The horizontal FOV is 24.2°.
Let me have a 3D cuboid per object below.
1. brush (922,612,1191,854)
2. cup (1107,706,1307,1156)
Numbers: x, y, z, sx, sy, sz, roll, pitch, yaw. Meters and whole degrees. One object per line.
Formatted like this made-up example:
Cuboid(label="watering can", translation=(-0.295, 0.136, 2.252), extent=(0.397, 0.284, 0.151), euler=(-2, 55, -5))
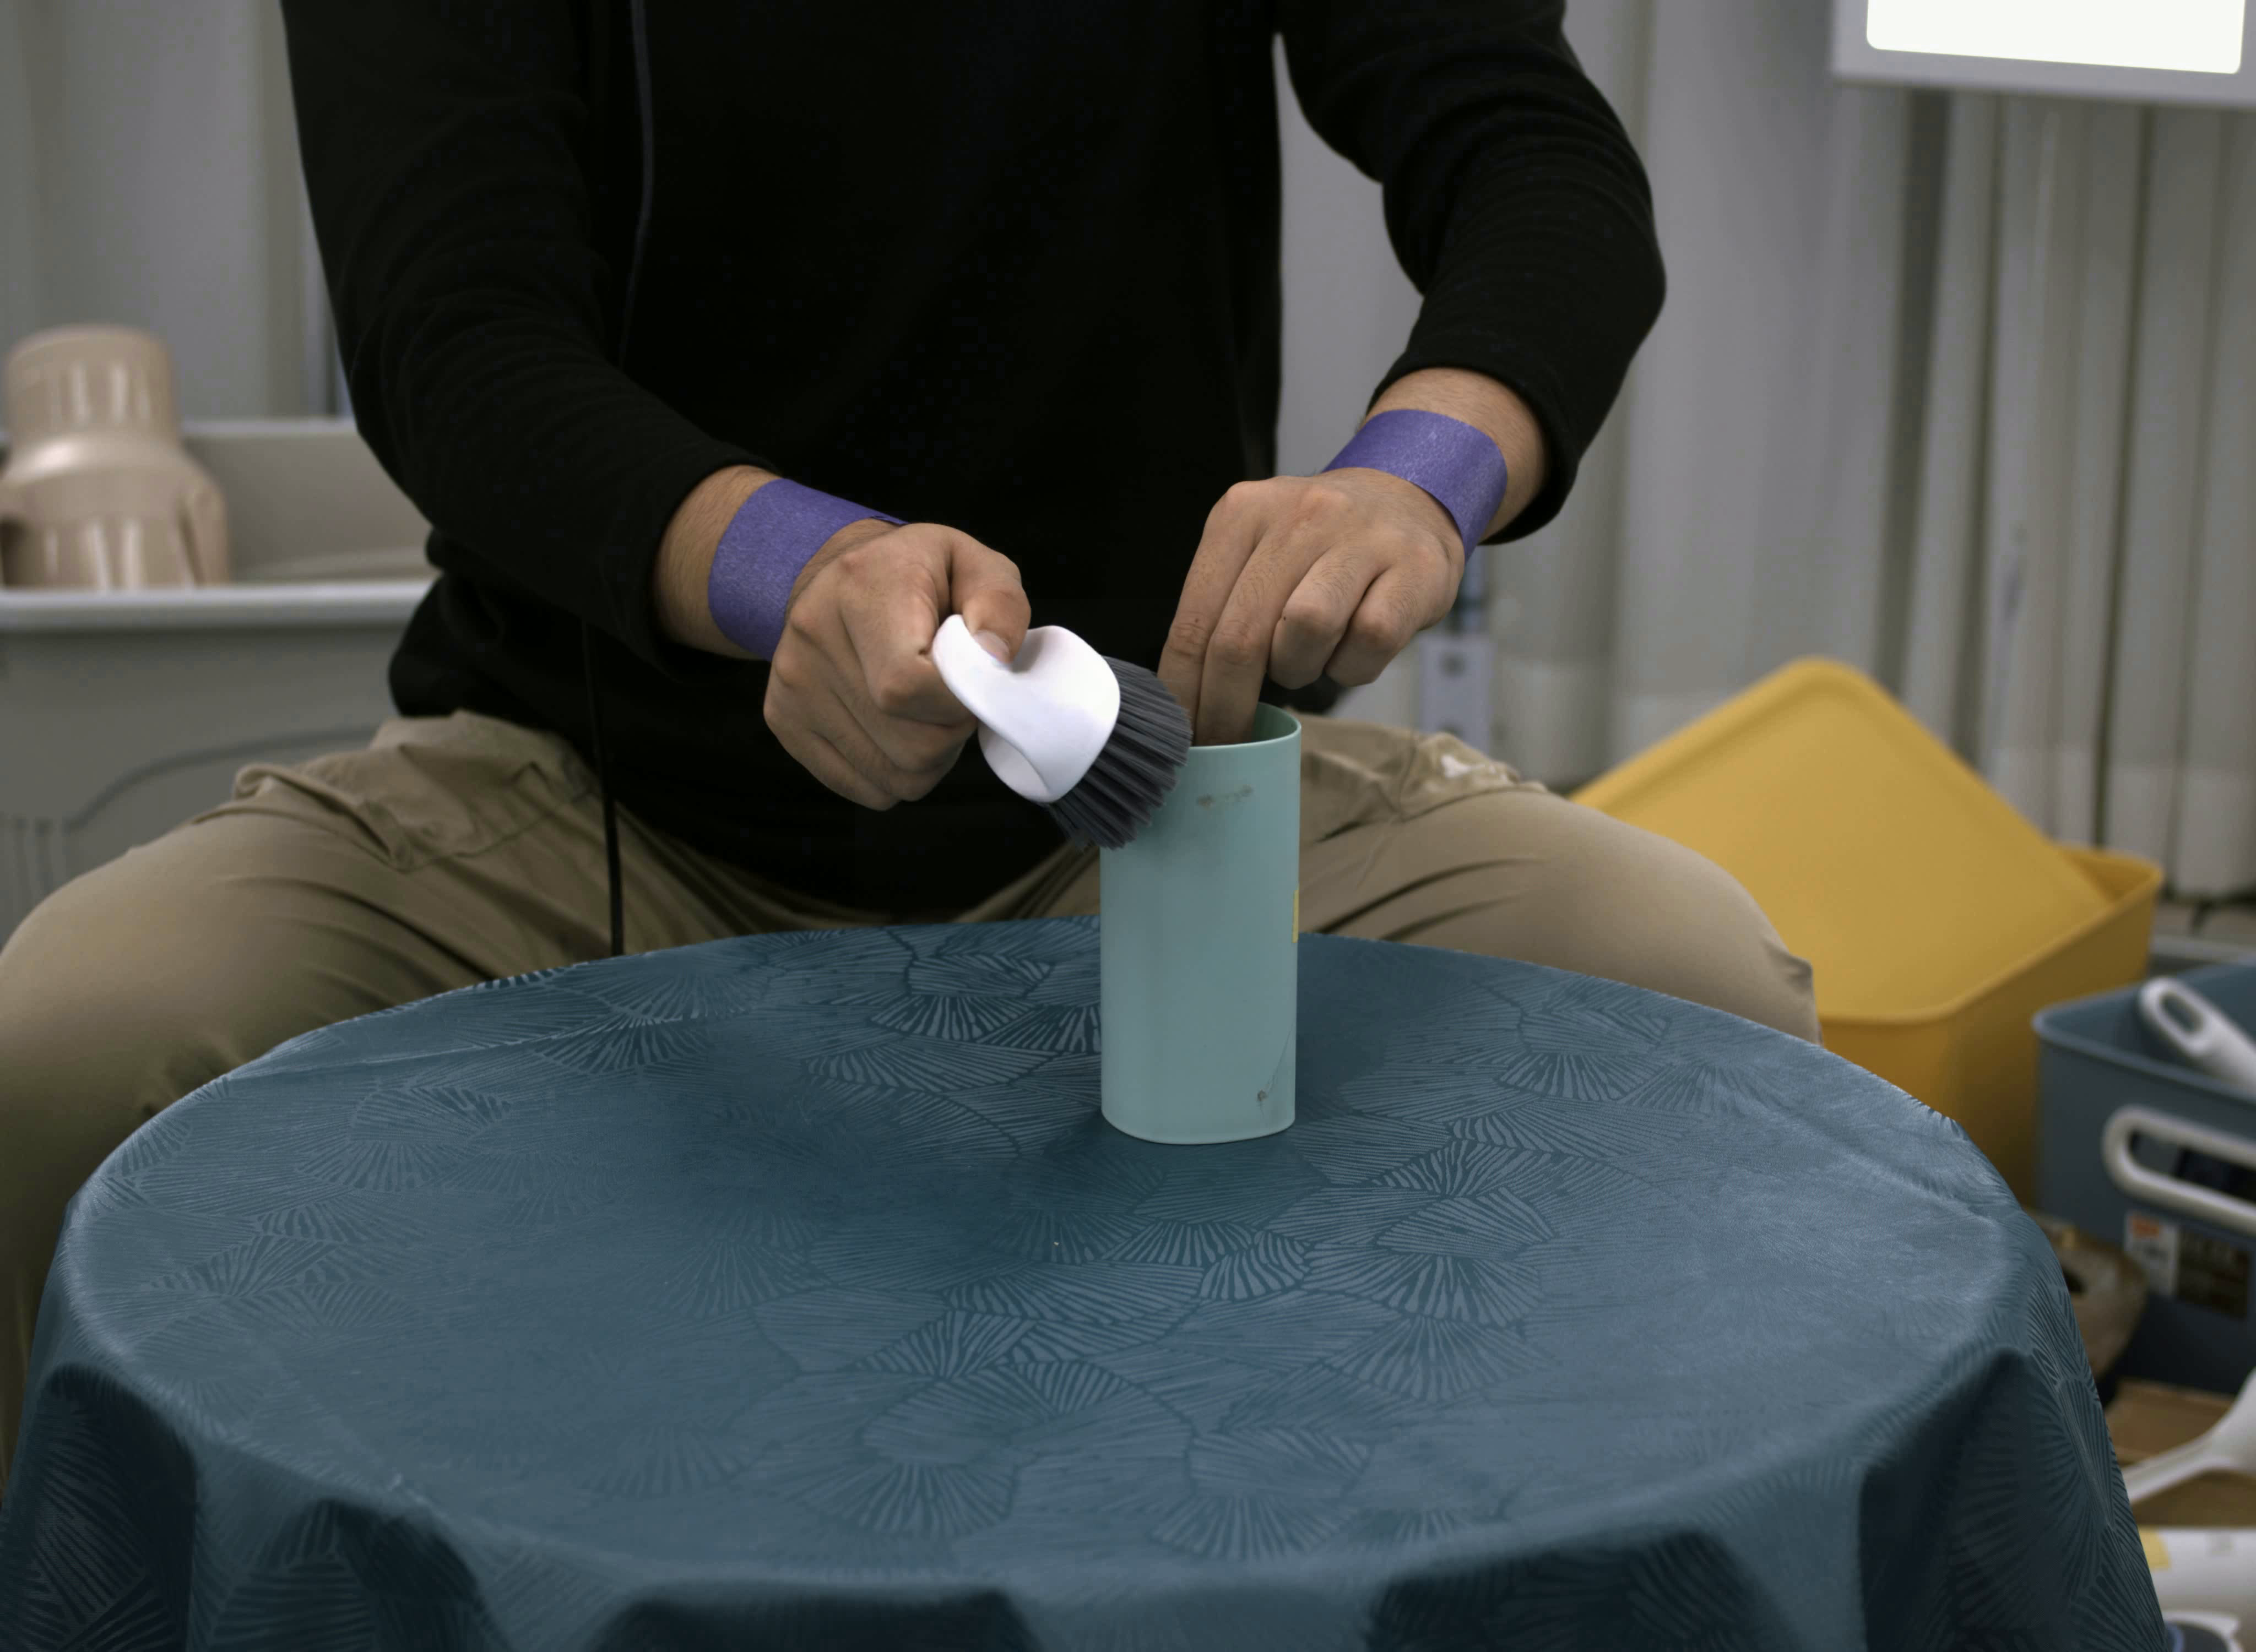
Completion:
Cuboid(label="brush", translation=(-0.029, -0.037, 1.622), extent=(0.073, 0.050, 0.098), euler=(31, 9, -21))
Cuboid(label="cup", translation=(0.023, 0.033, 1.677), extent=(0.066, 0.133, 0.066), euler=(1, 17, 0))
